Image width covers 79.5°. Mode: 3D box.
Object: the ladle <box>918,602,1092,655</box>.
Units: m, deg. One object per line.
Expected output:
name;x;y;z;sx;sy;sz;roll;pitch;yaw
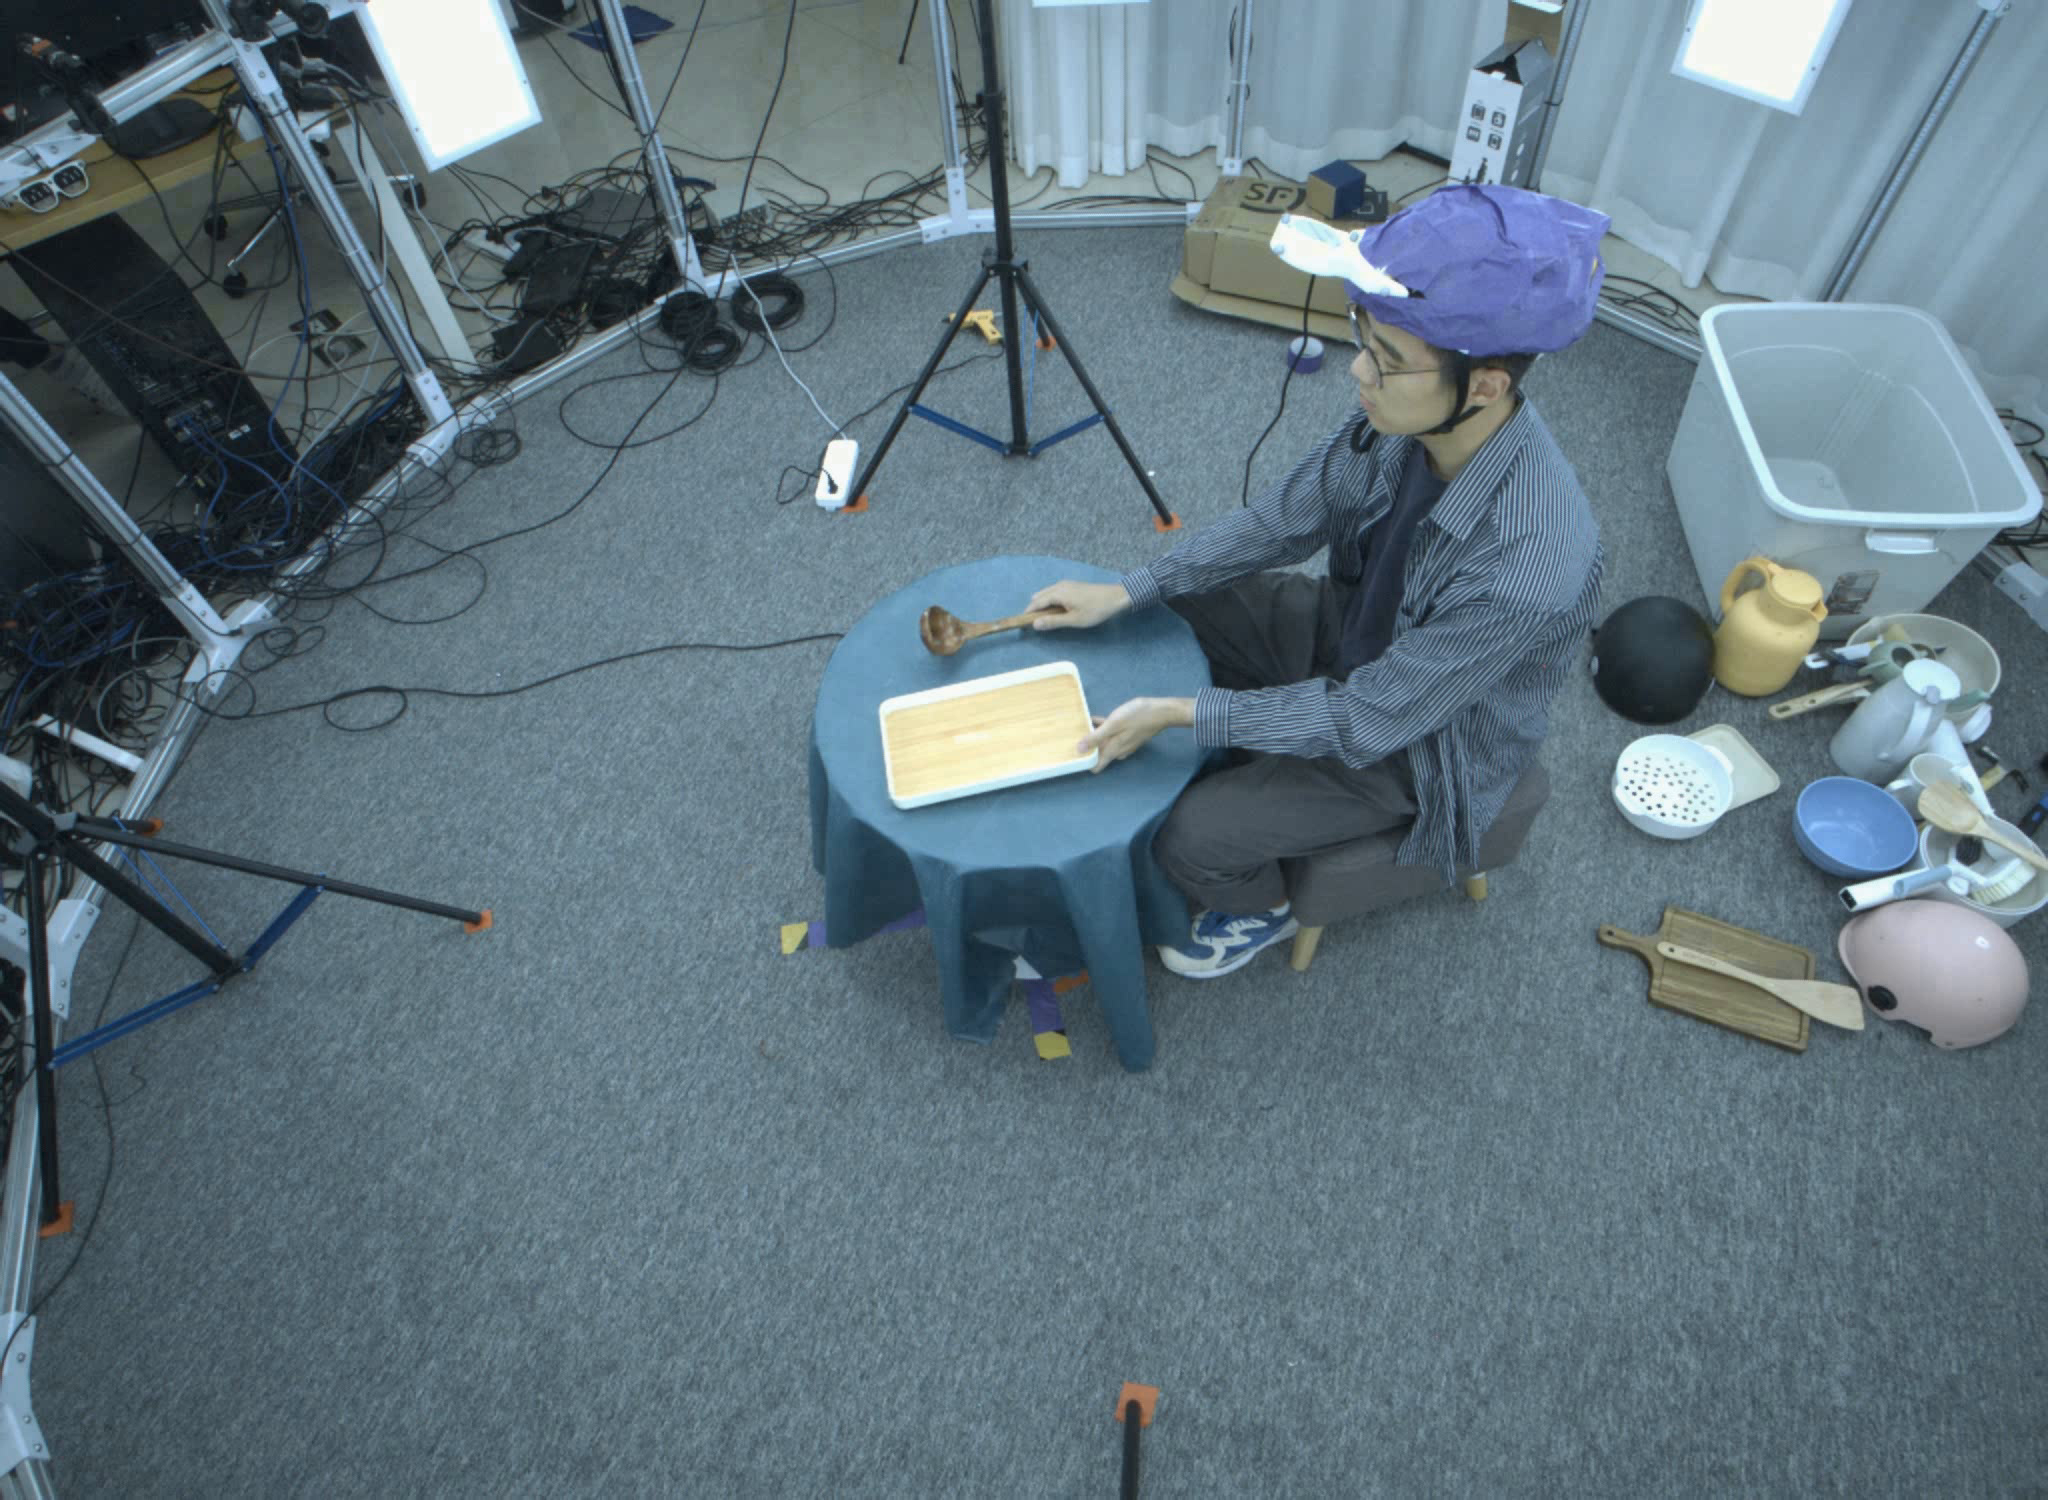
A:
ladle;-0.027;-0.202;1.874;0.276;0.076;0.082;-10;85;-9

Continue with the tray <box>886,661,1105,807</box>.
tray;-0.045;-0.026;1.781;0.301;0.028;0.189;-11;53;-2
